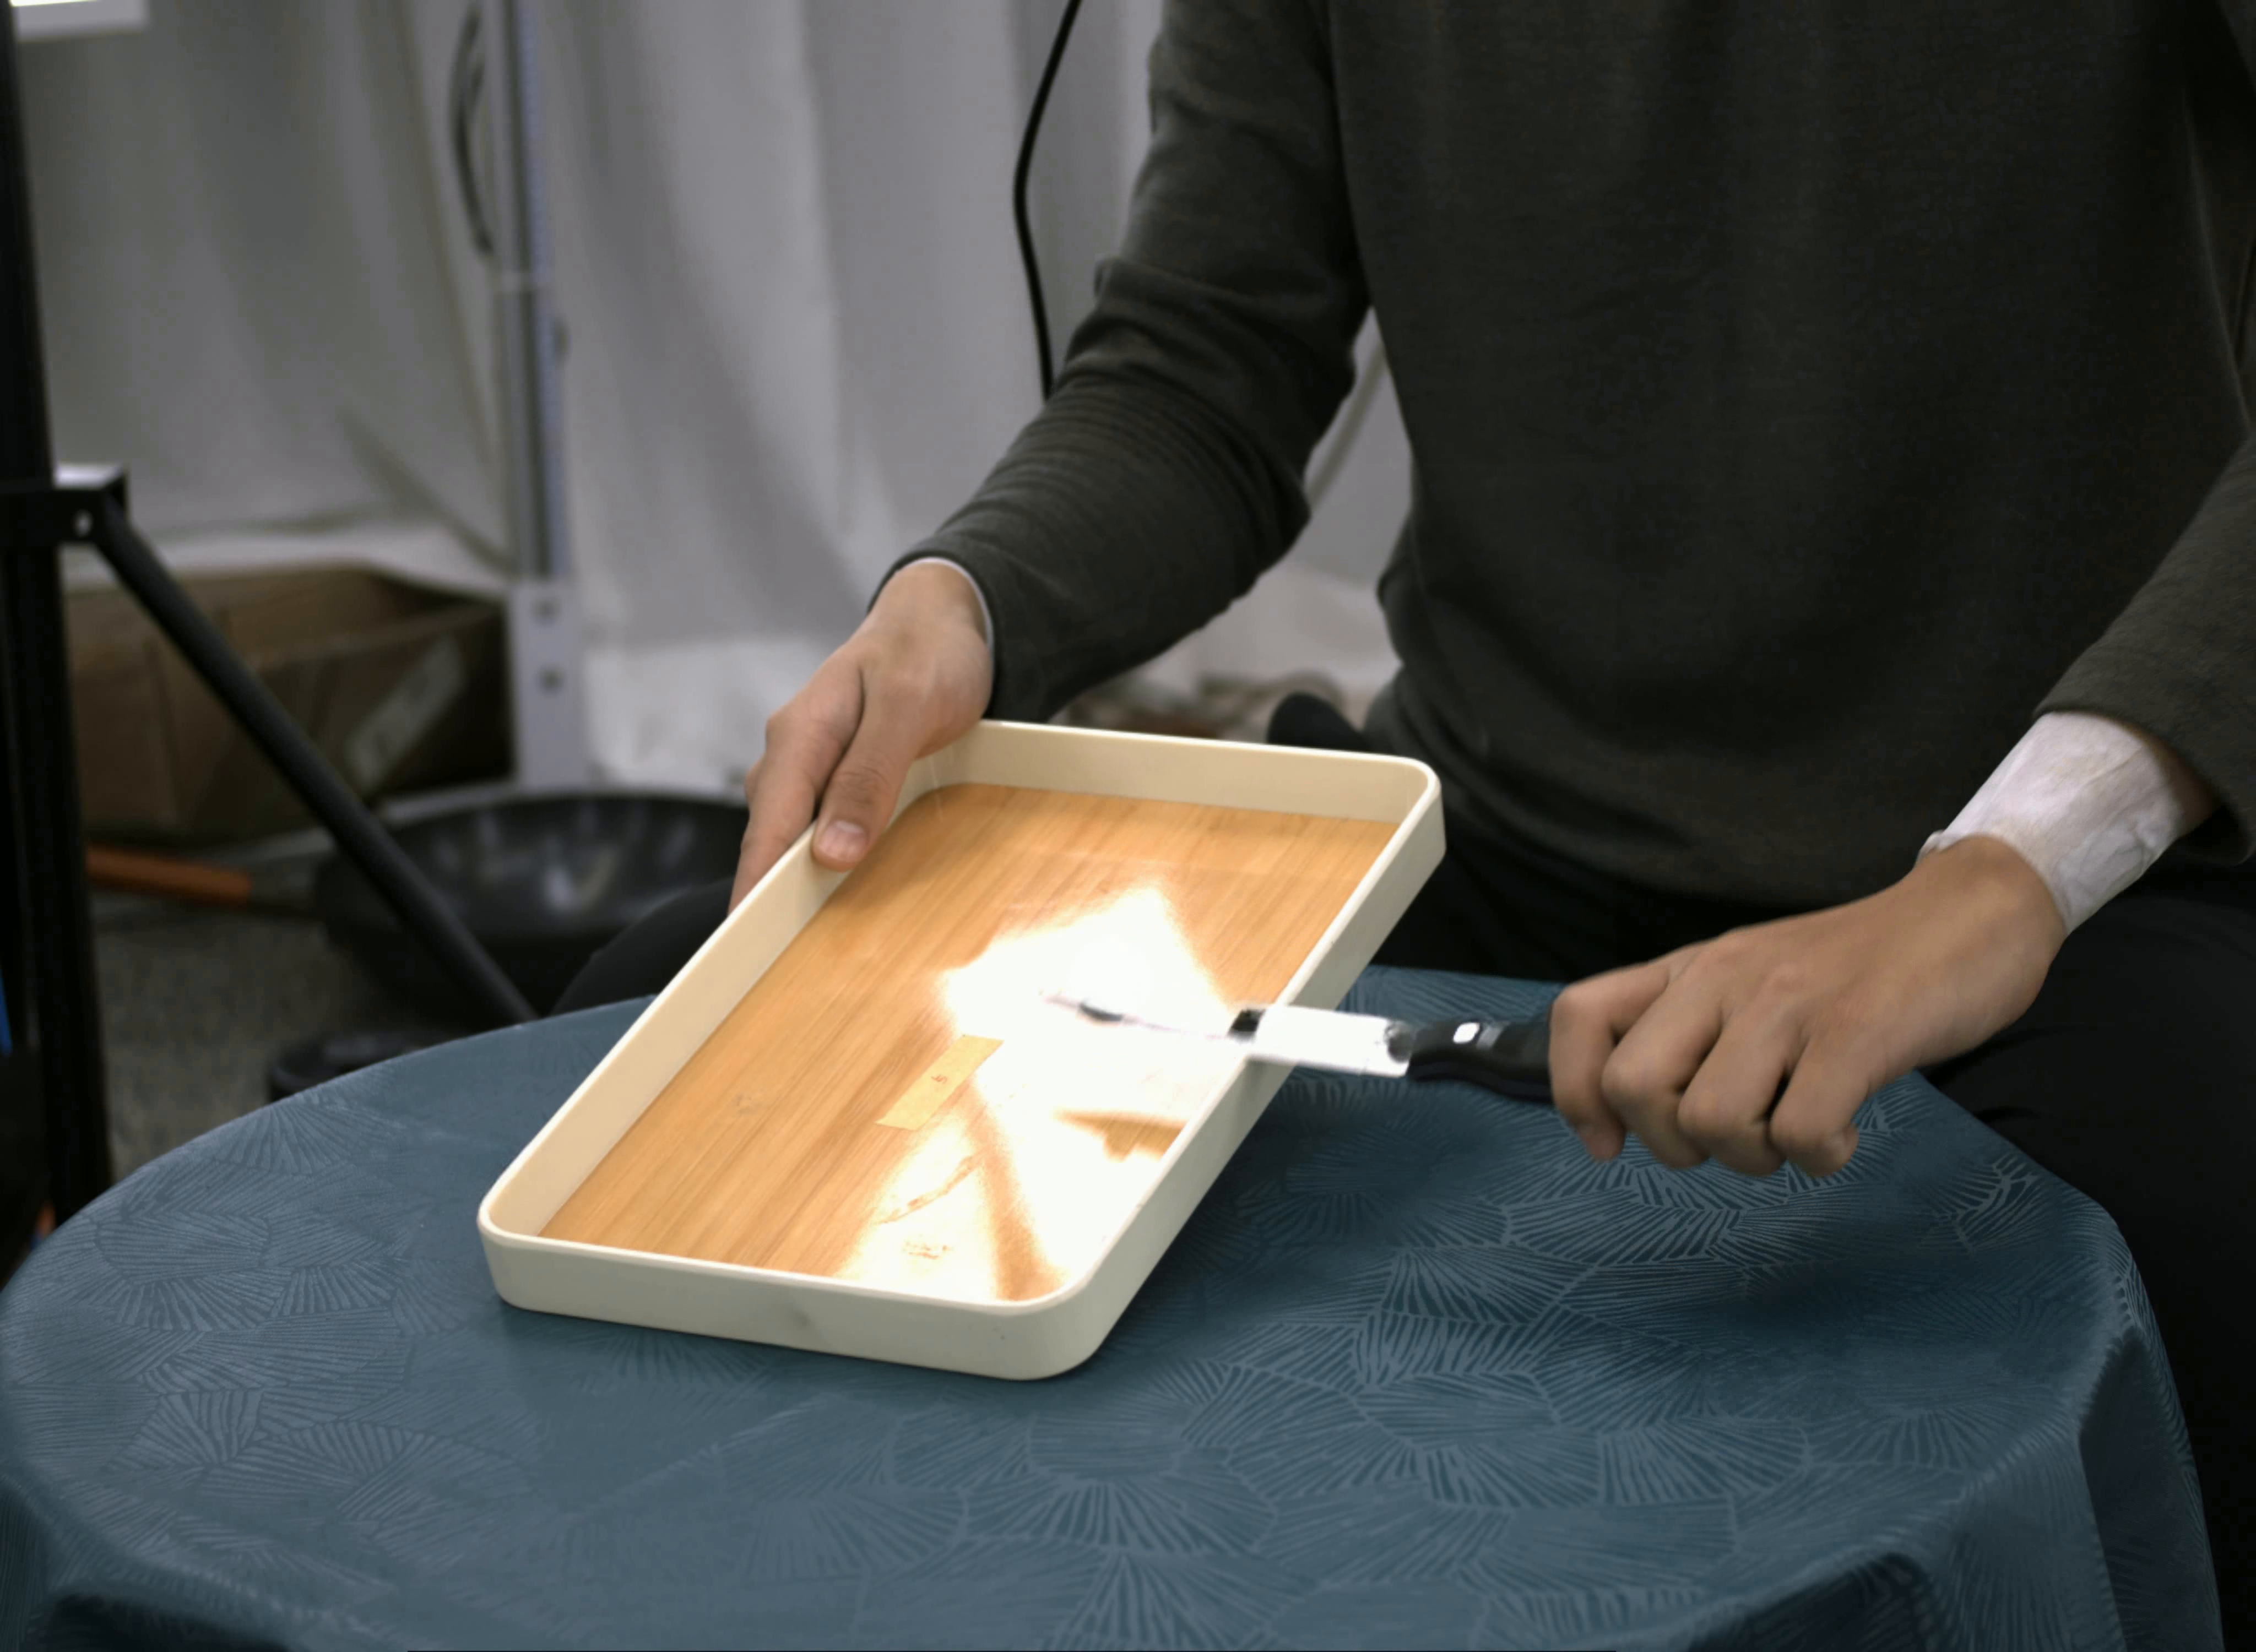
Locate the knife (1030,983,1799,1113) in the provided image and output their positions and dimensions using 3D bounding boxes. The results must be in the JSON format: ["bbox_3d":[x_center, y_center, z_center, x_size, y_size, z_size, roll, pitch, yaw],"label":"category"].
[{"bbox_3d":[0.078,0.058,1.493,0.242,0.016,0.024,6,34,29],"label":"knife"}]

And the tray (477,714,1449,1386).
[{"bbox_3d":[-0.041,0.058,1.562,0.194,0.027,0.297,6,33,26],"label":"tray"}]
